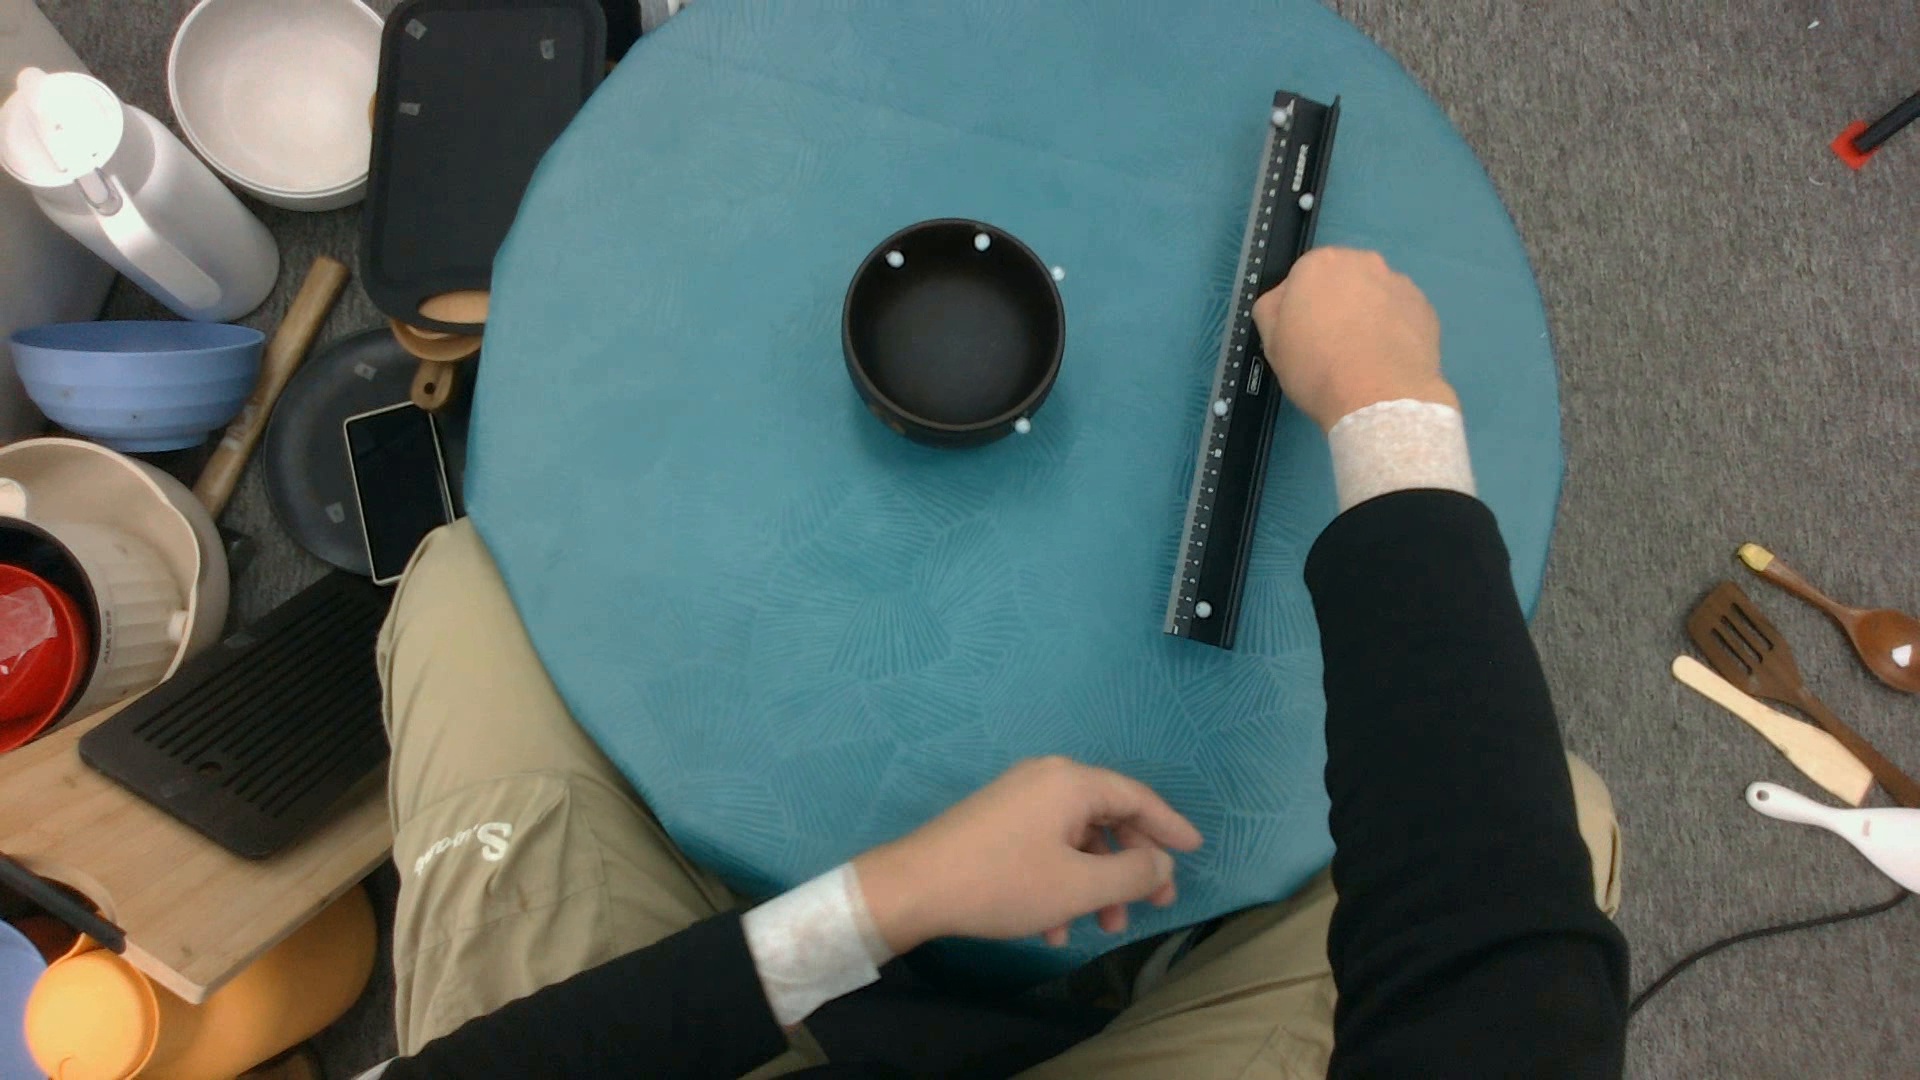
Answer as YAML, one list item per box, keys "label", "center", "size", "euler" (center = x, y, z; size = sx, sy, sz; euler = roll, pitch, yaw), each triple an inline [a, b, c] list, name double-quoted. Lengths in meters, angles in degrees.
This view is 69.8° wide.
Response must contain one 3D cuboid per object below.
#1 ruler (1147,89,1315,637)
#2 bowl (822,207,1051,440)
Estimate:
- label: "ruler"
  center: [0.150, -0.103, 0.741]
  size: [0.039, 0.017, 0.313]
  euler: [14, 78, -5]
- label: "bowl"
  center: [-0.013, -0.107, 0.725]
  size: [0.118, 0.069, 0.118]
  euler: [1, 76, -3]
